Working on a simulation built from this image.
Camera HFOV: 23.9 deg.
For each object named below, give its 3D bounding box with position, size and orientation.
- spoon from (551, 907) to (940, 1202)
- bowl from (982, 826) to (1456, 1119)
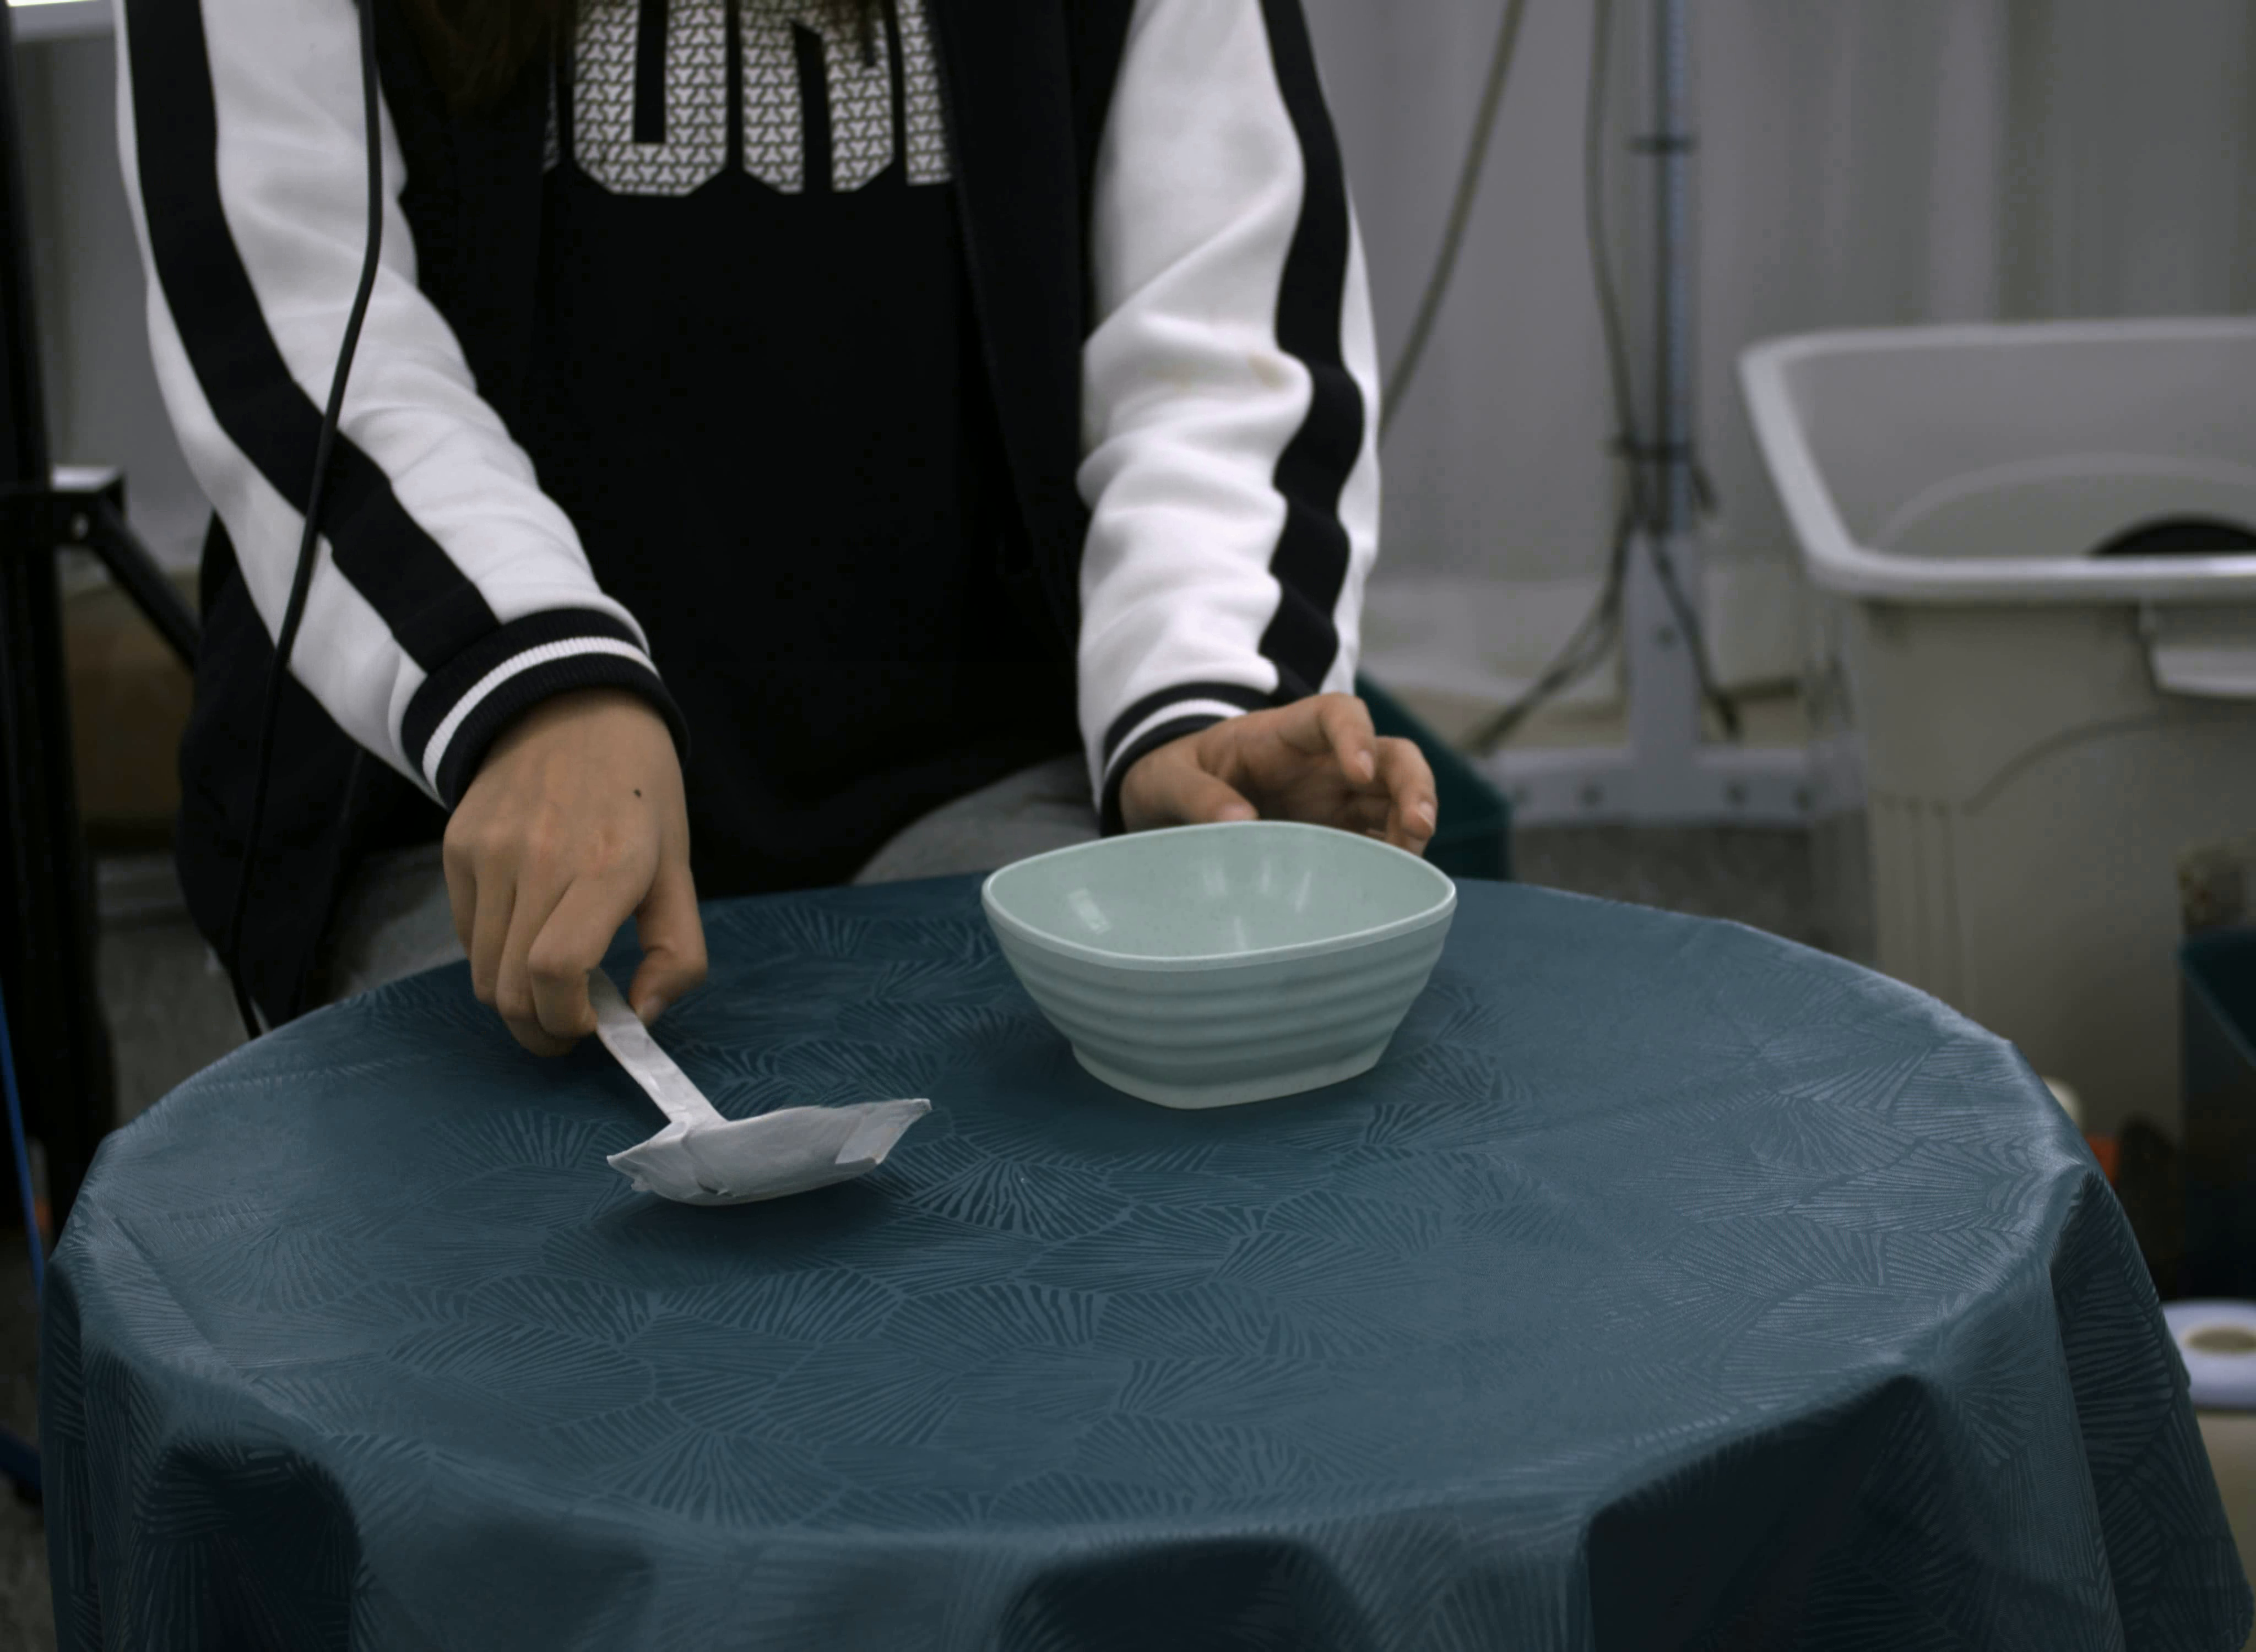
[{"bbox_3d":[-0.132,0.054,1.634,0.099,0.059,0.282,-1,21,-19],"label":"spoon"},{"bbox_3d":[0.029,0.049,1.666,0.150,0.058,0.152,-3,16,-1],"label":"bowl"}]
